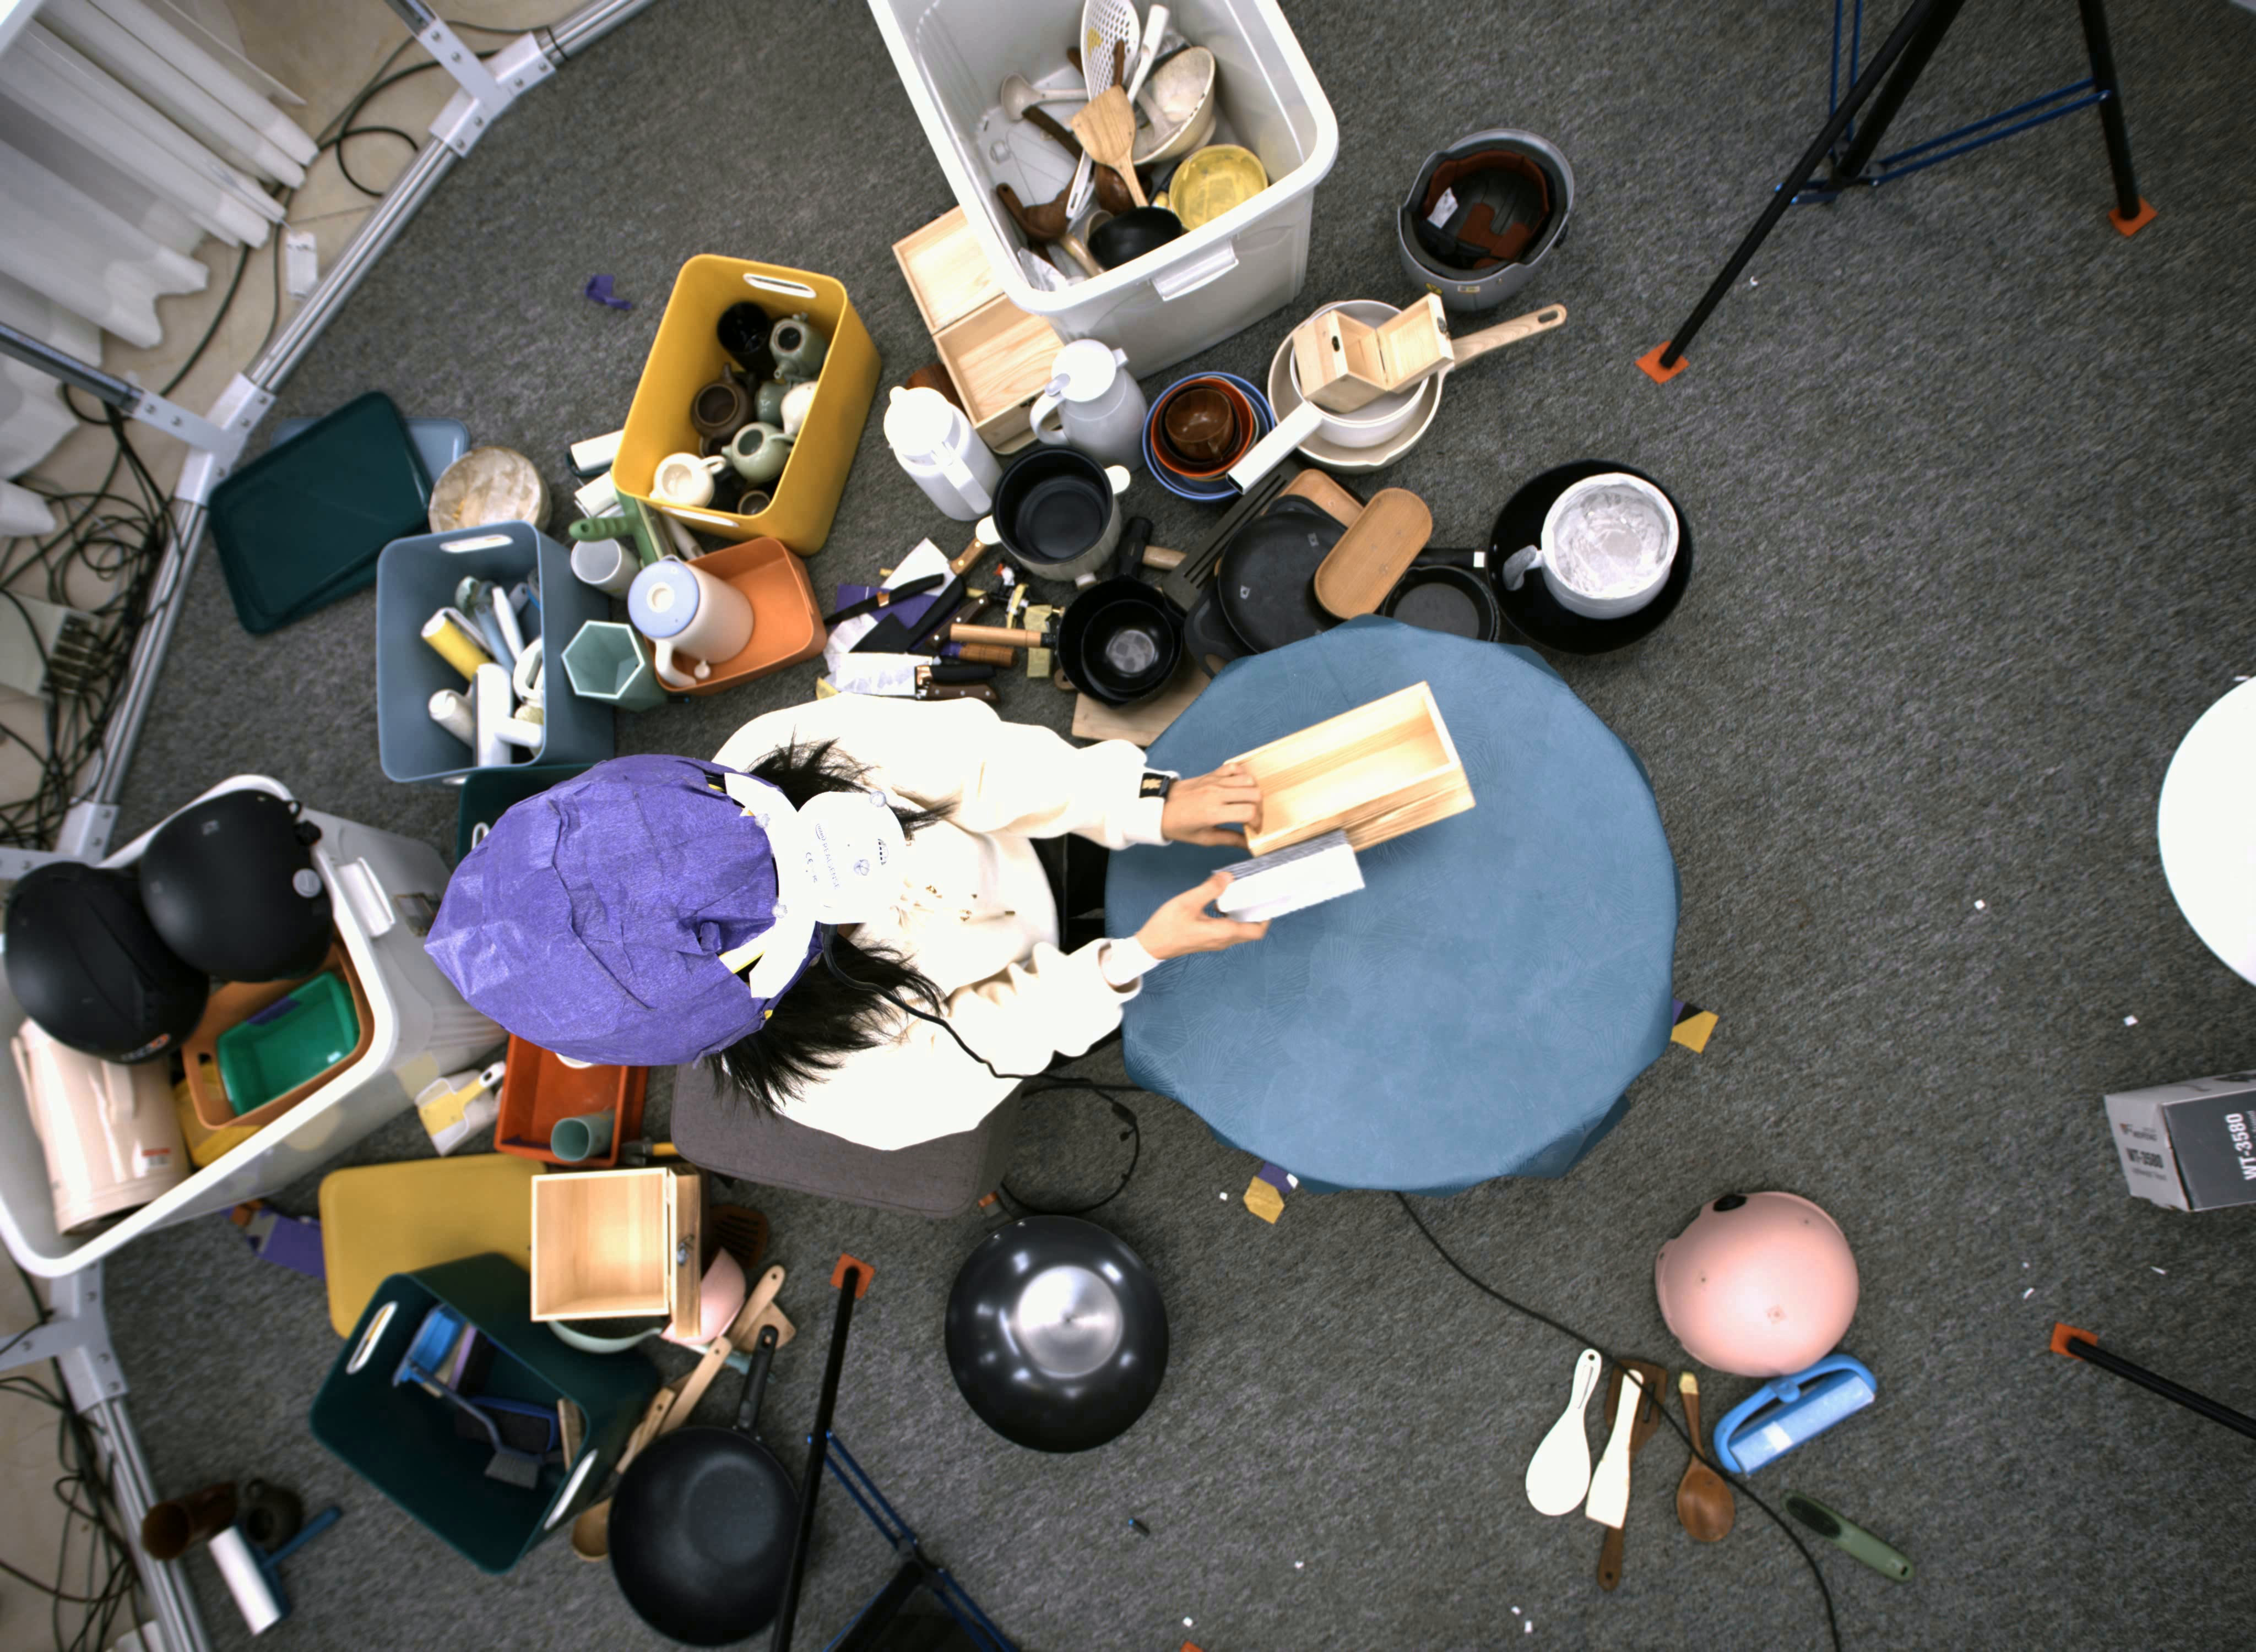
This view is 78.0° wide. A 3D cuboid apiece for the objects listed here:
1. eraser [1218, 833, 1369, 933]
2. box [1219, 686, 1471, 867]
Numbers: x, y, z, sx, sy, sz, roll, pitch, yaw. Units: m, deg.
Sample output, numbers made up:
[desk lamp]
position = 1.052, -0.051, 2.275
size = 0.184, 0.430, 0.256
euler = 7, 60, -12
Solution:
[eraser]
position = 0.157, 0.053, 1.321
size = 0.135, 0.050, 0.045
euler = -21, 57, 12
[box]
position = 0.210, -0.039, 1.339
size = 0.213, 0.081, 0.105
euler = -22, 56, 12
